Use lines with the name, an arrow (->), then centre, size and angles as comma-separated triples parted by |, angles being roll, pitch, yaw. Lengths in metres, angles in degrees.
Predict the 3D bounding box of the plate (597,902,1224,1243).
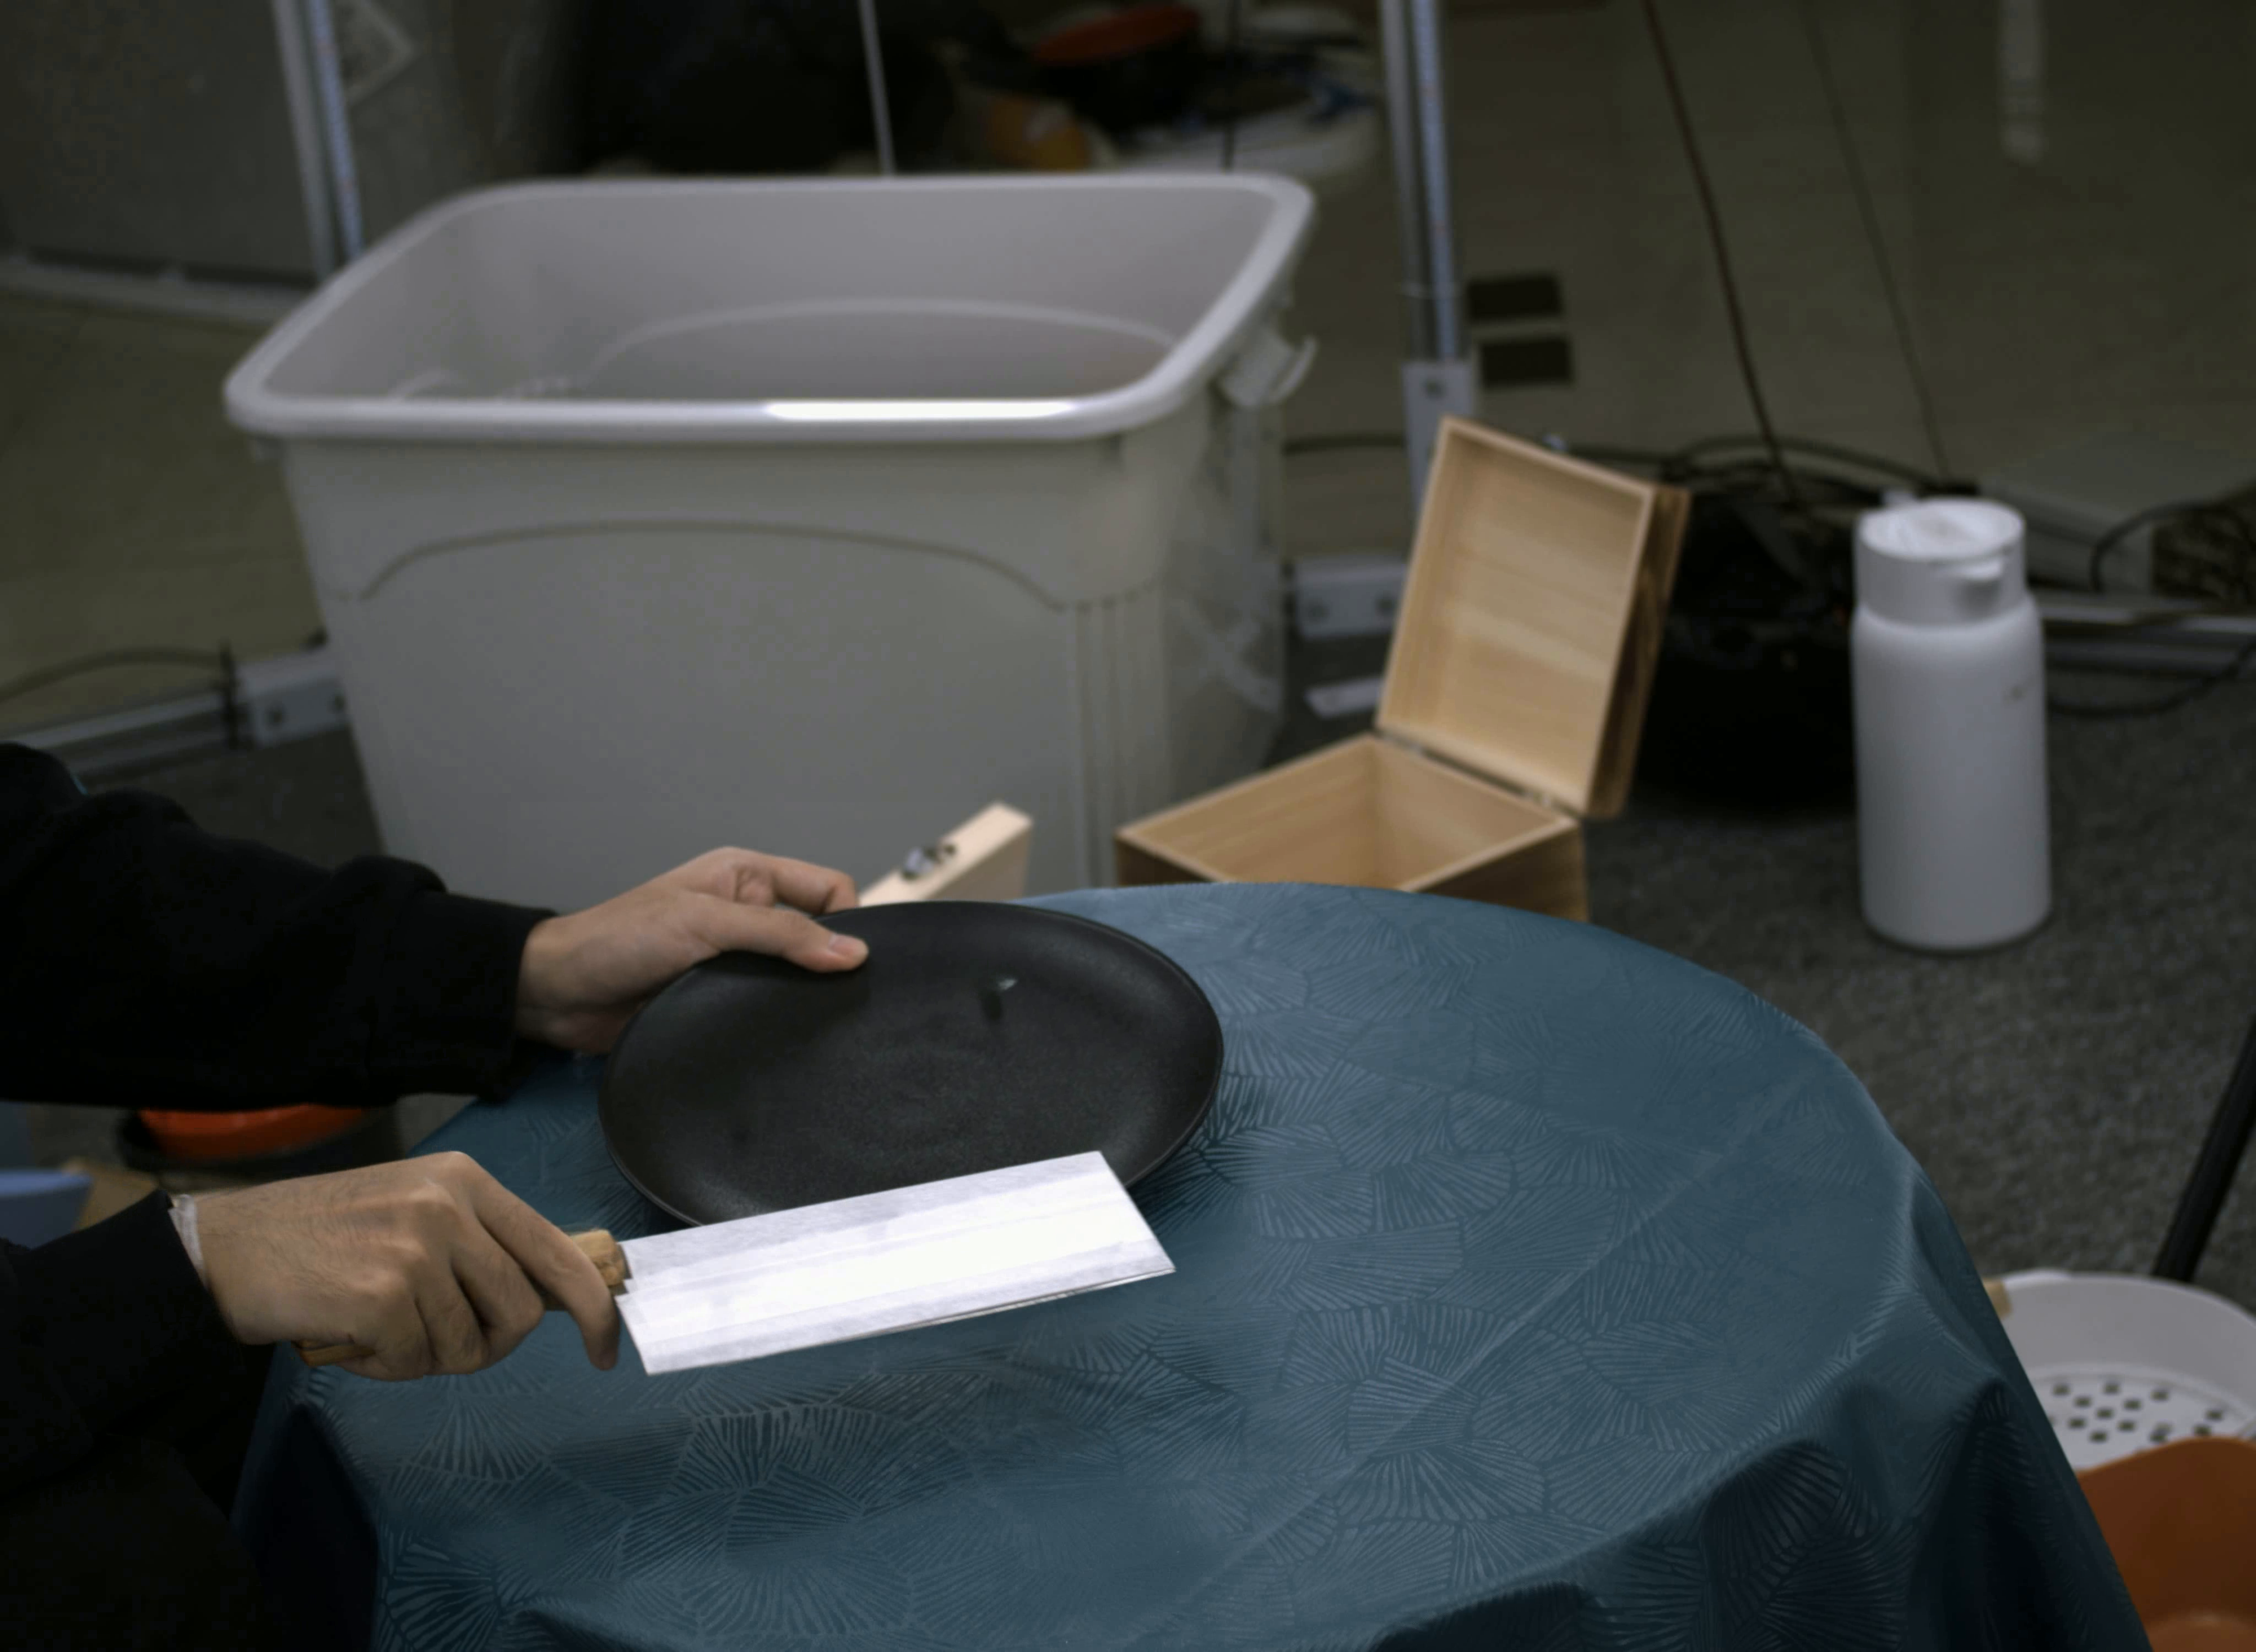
plate -> -0.083, 0.103, 2.188 | 0.244, 0.024, 0.240 | -3, 33, 2

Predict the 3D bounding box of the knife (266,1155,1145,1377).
knife -> -0.144, 0.161, 1.980 | 0.305, 0.021, 0.091 | -10, 27, -15
